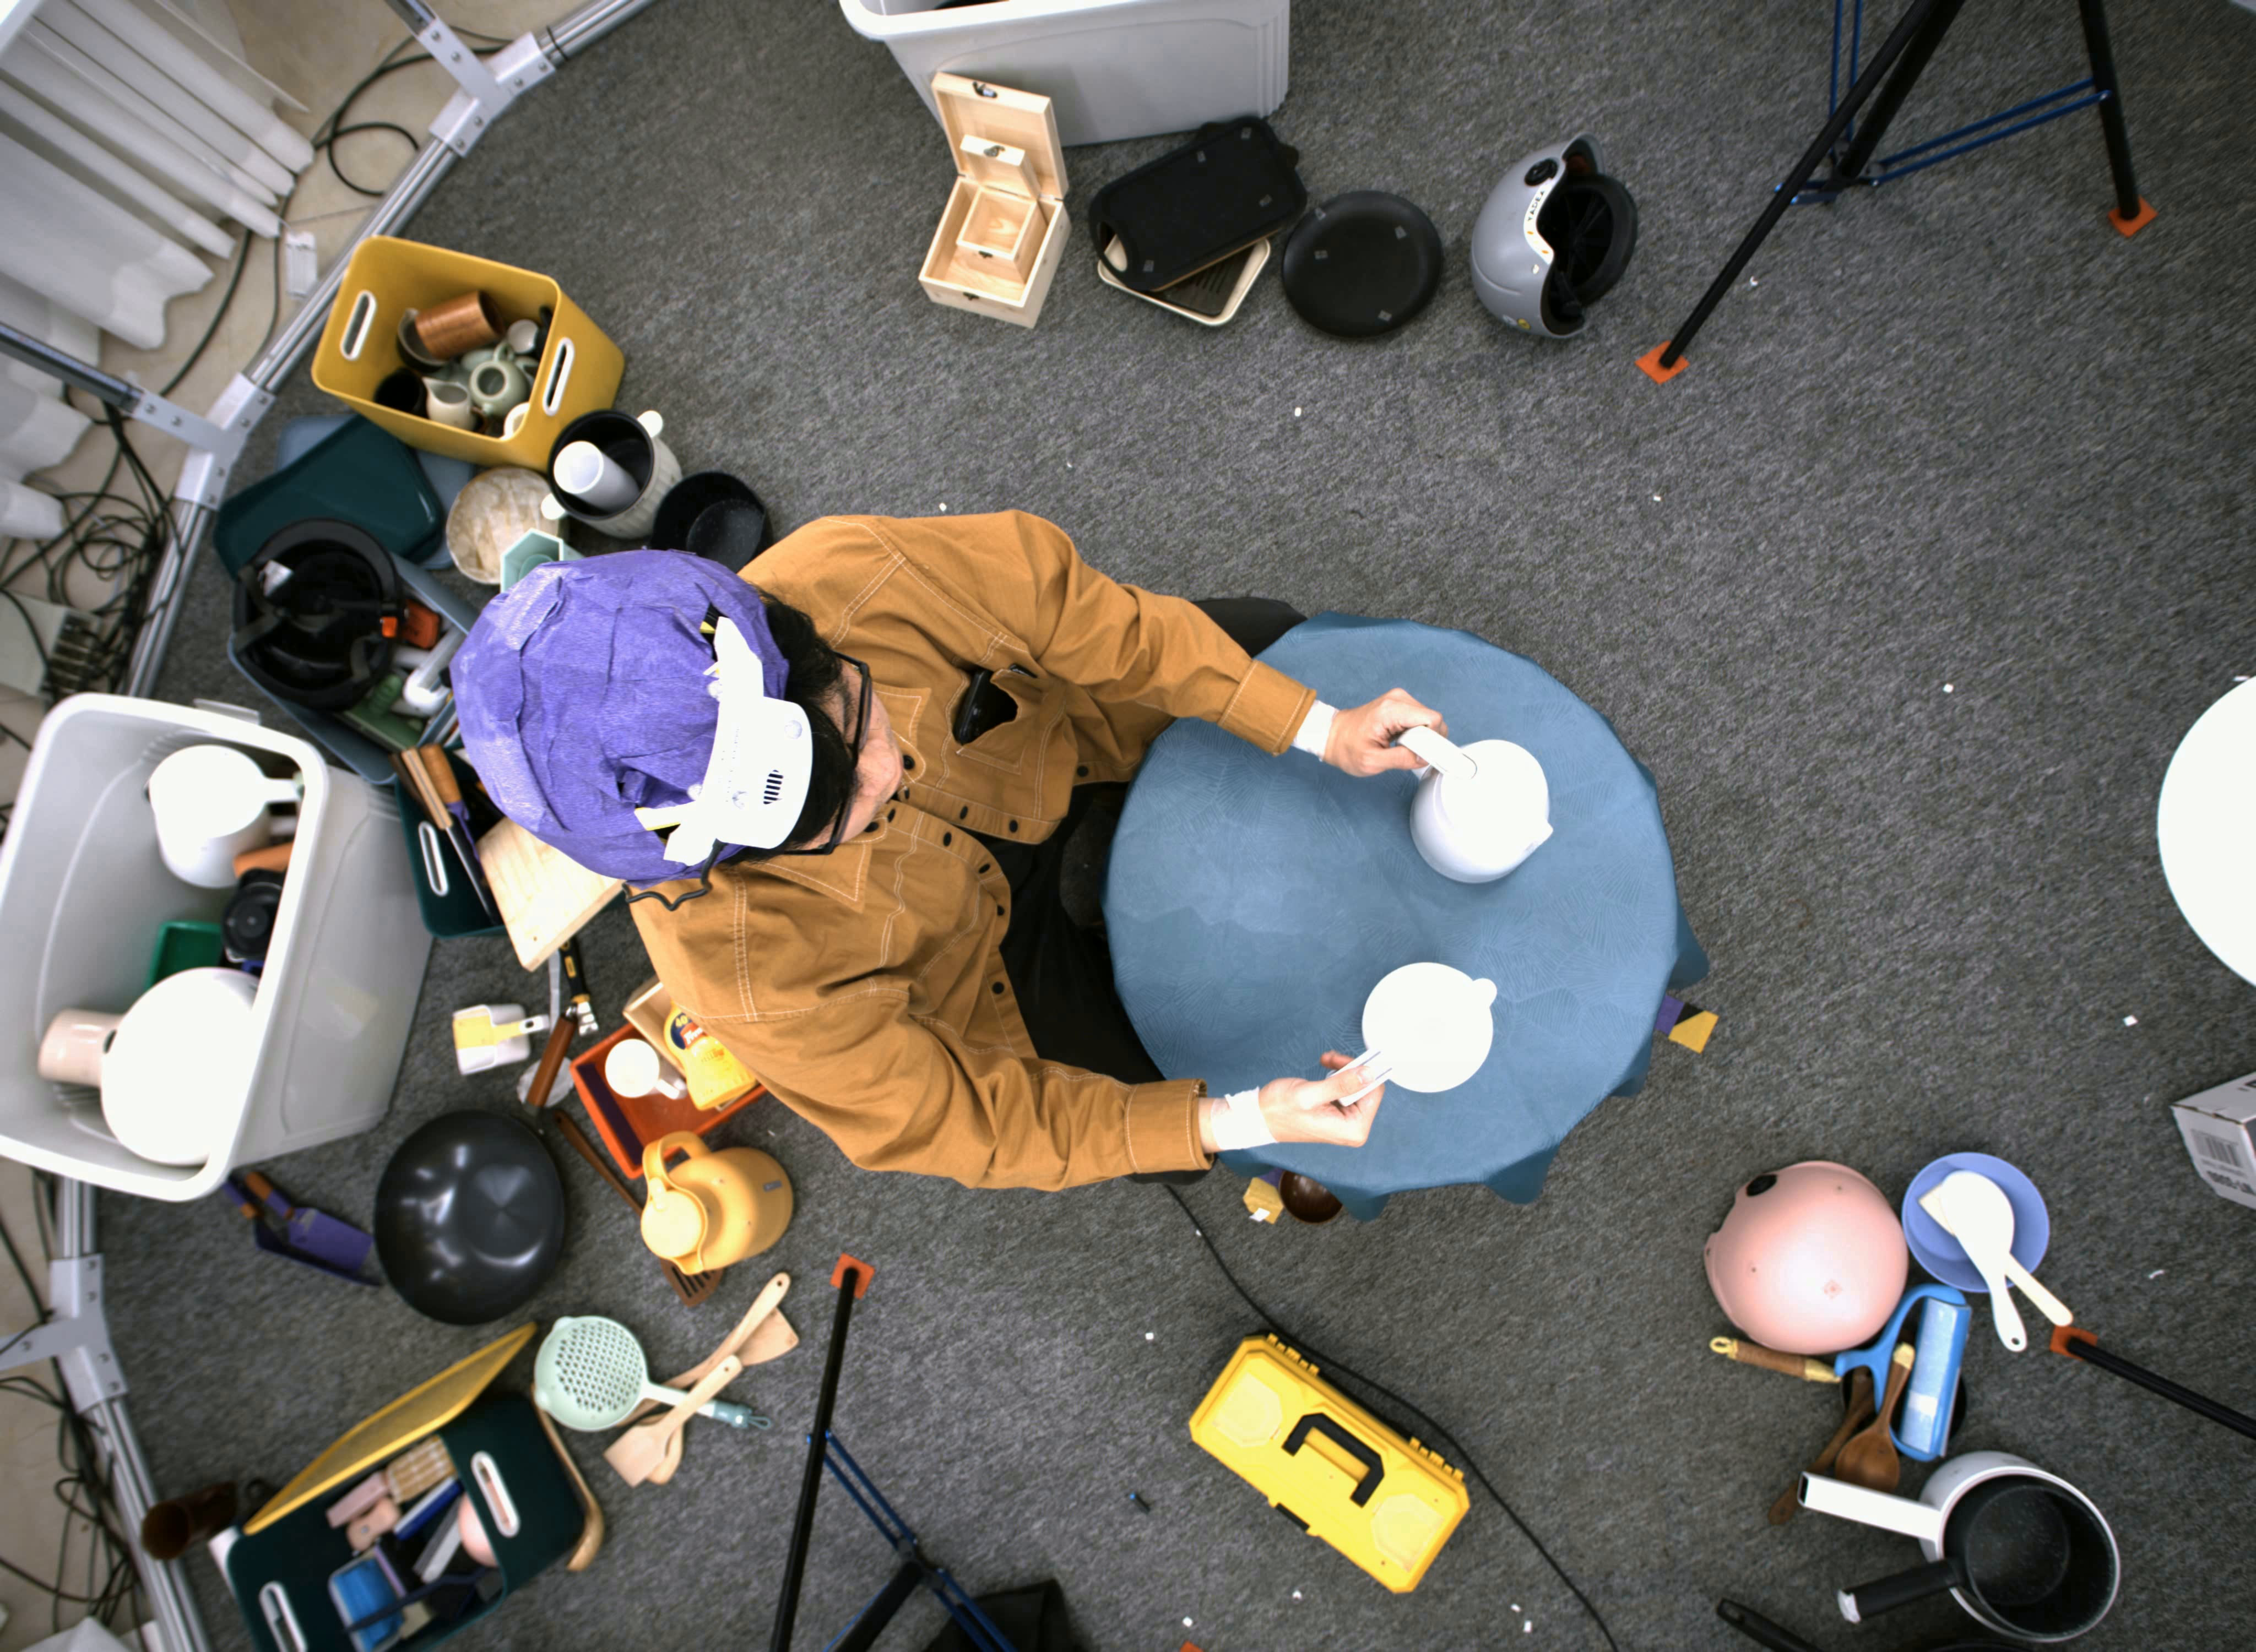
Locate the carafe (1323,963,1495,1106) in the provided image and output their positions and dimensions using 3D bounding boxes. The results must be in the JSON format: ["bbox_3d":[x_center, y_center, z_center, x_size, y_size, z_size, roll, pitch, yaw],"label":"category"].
[{"bbox_3d":[0.268,0.200,1.319,0.173,0.269,0.123,-36,81,5],"label":"carafe"}]

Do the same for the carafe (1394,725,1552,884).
[{"bbox_3d":[0.327,-0.031,1.329,0.167,0.249,0.133,41,93,12],"label":"carafe"}]
